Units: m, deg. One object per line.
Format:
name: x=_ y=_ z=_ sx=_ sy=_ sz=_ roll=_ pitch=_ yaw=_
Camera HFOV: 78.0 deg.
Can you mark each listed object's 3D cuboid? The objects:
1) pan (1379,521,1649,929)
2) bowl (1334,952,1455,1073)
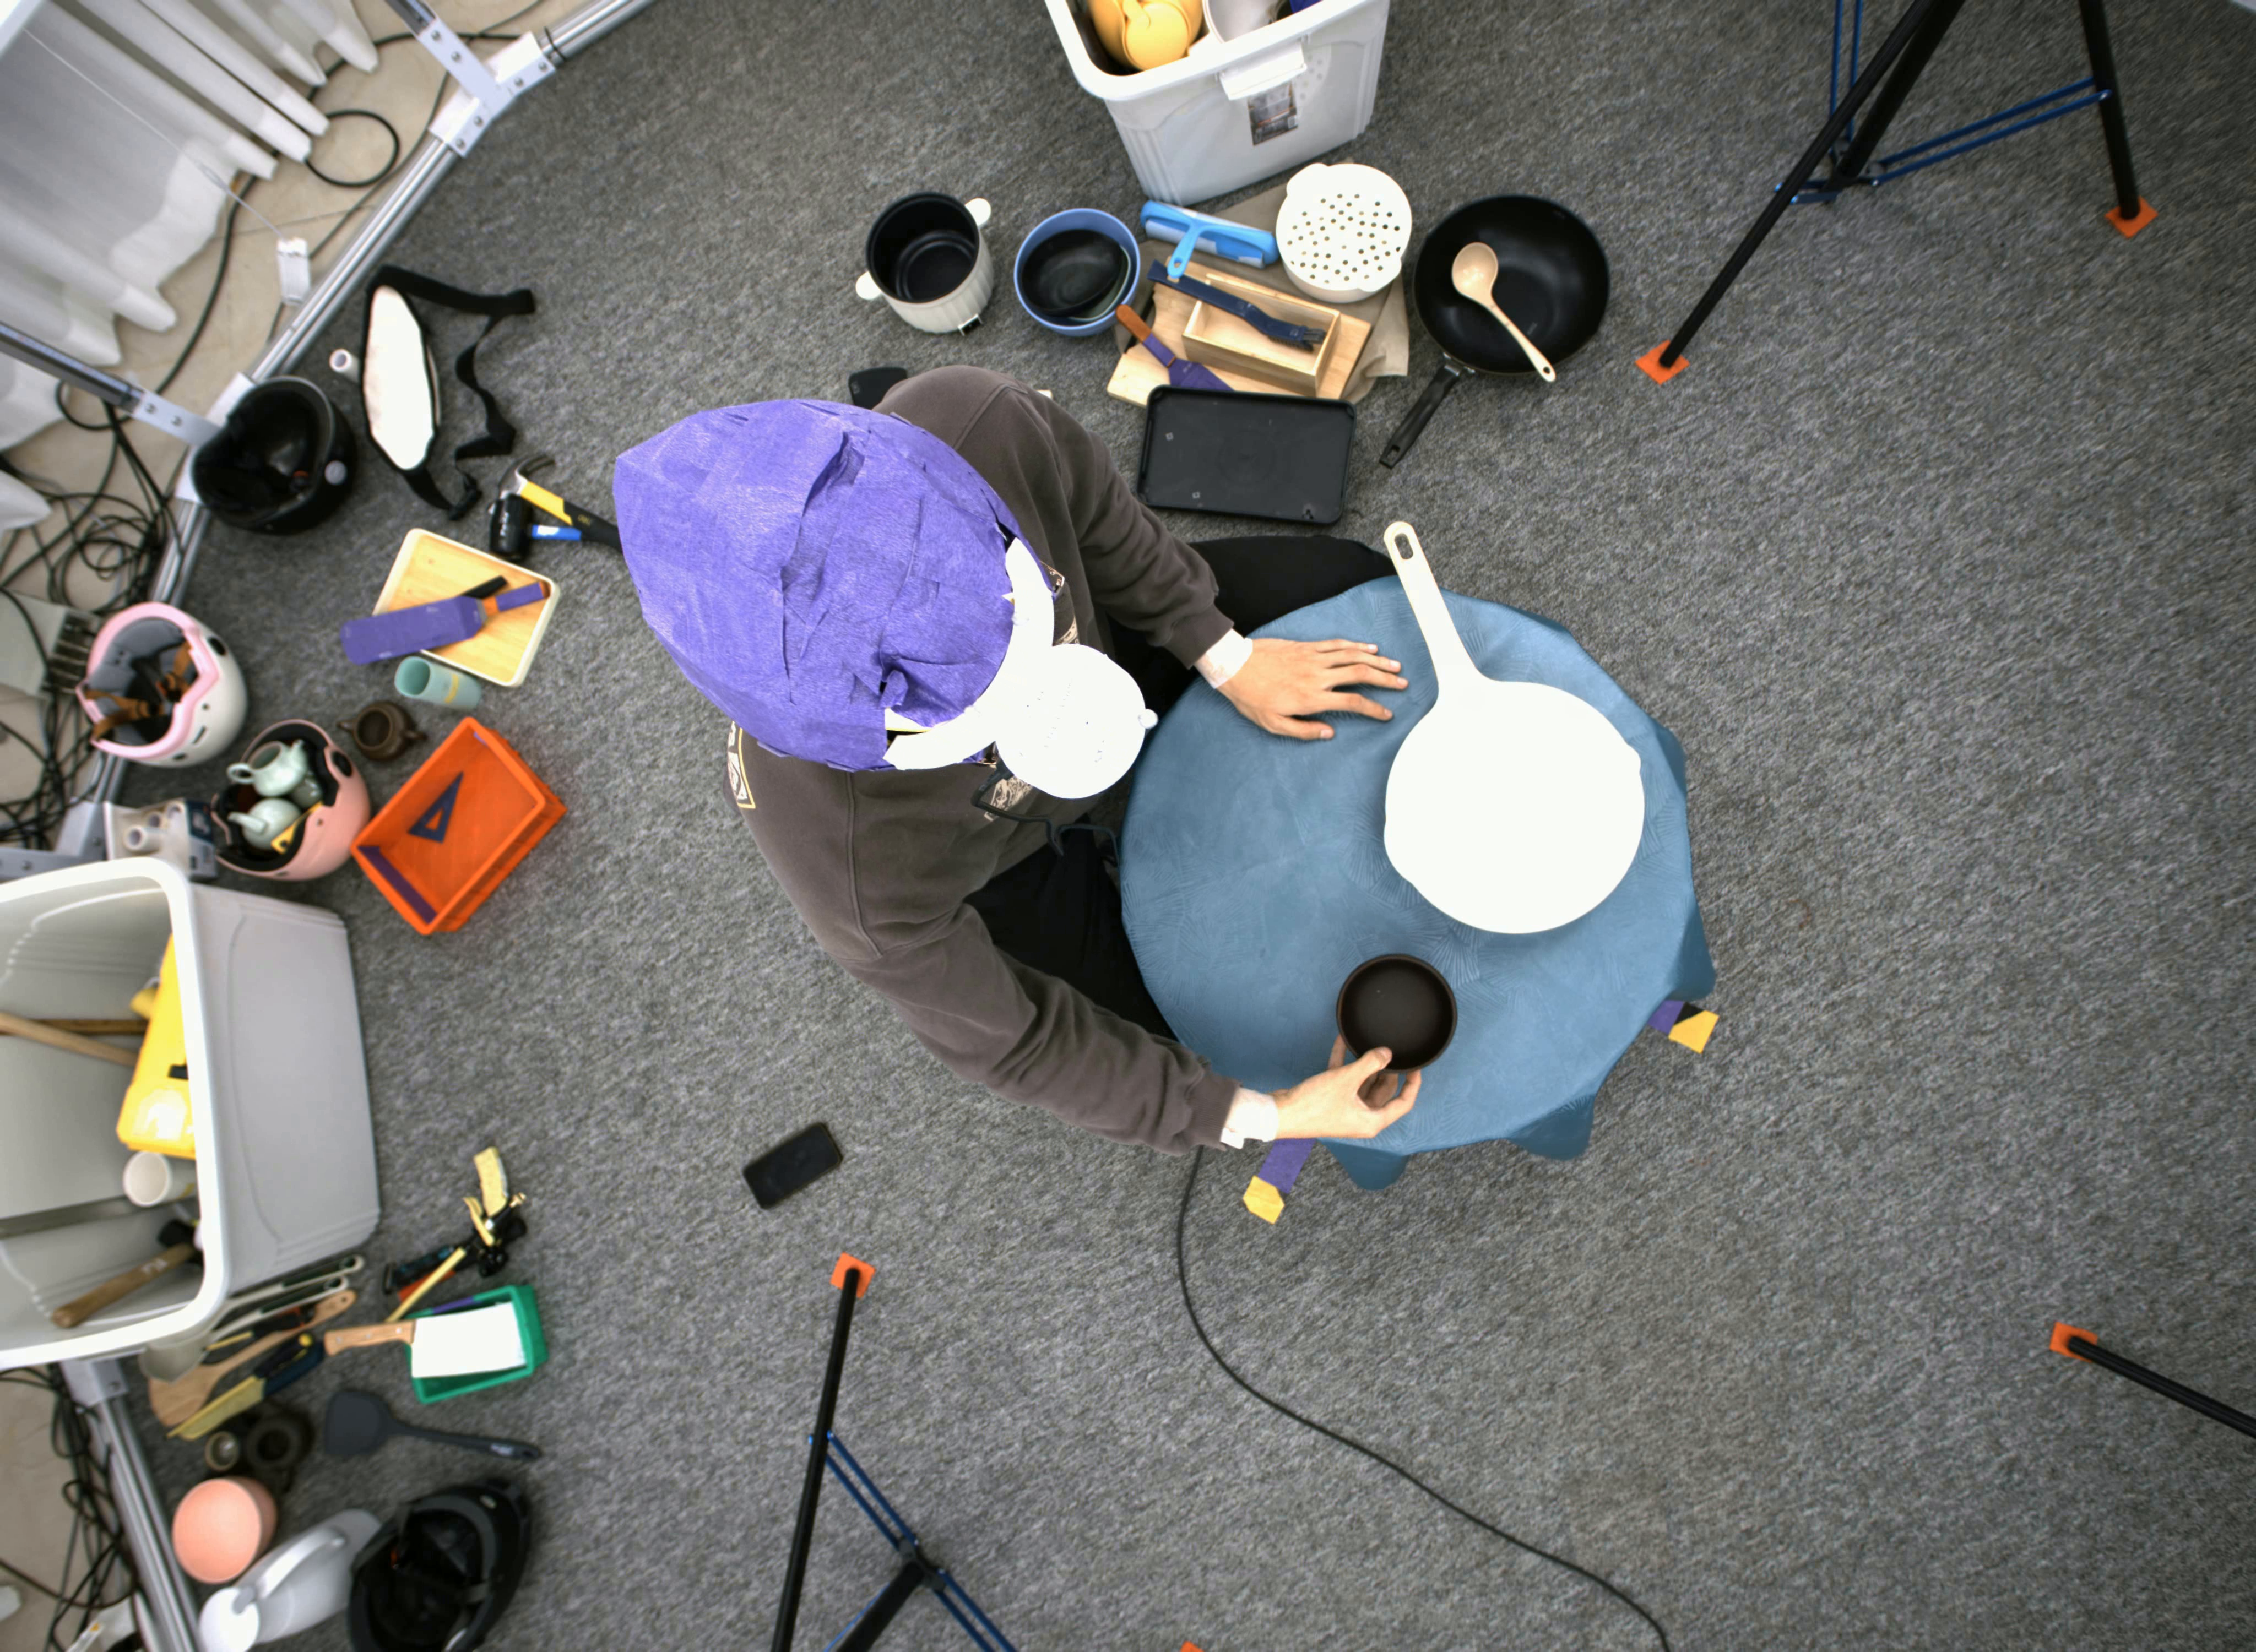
pan: x=0.357 y=-0.107 z=1.400 sx=0.265 sy=0.102 sz=0.432 roll=-23 pitch=83 yaw=10
bowl: x=0.266 y=0.182 z=1.376 sx=0.118 sy=0.069 sz=0.118 roll=0 pitch=92 yaw=13
